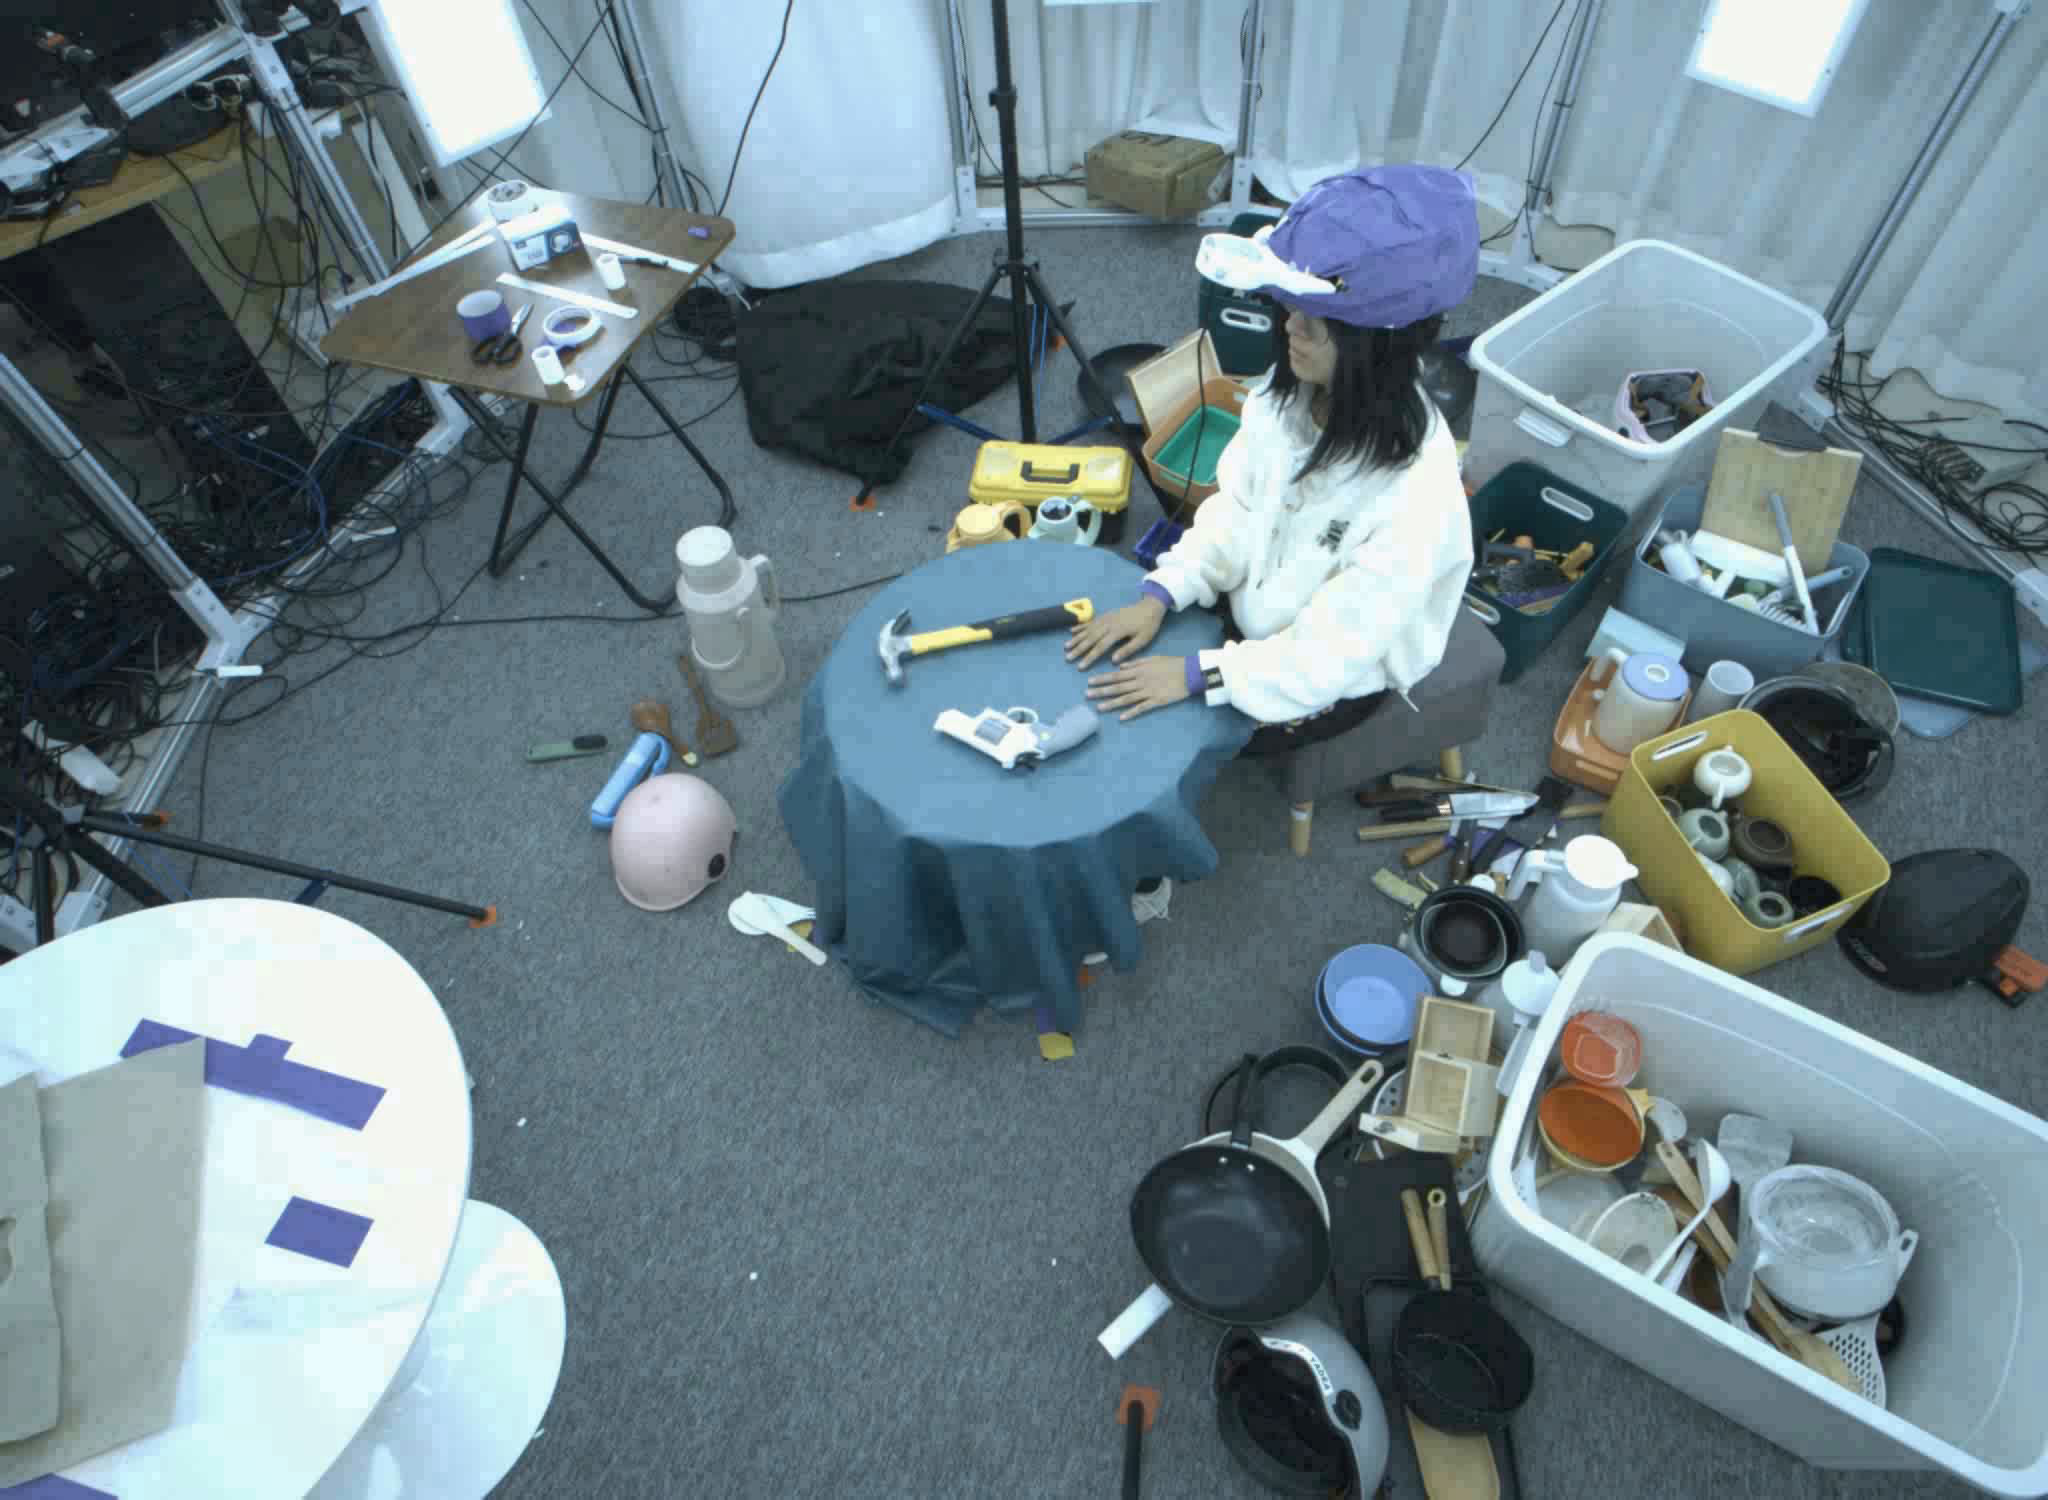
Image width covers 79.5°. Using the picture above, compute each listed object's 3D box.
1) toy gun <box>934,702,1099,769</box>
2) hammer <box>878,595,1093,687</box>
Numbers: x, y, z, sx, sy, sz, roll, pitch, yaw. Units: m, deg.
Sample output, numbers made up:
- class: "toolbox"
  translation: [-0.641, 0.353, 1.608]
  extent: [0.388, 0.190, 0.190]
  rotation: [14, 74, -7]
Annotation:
- class: "toy gun"
  translation: [-0.010, -0.038, 1.791]
  extent: [0.206, 0.039, 0.142]
  rotation: [25, 61, 19]
- class: "hammer"
  translation: [-0.059, -0.189, 1.901]
  extent: [0.340, 0.032, 0.129]
  rotation: [-13, 53, -6]
